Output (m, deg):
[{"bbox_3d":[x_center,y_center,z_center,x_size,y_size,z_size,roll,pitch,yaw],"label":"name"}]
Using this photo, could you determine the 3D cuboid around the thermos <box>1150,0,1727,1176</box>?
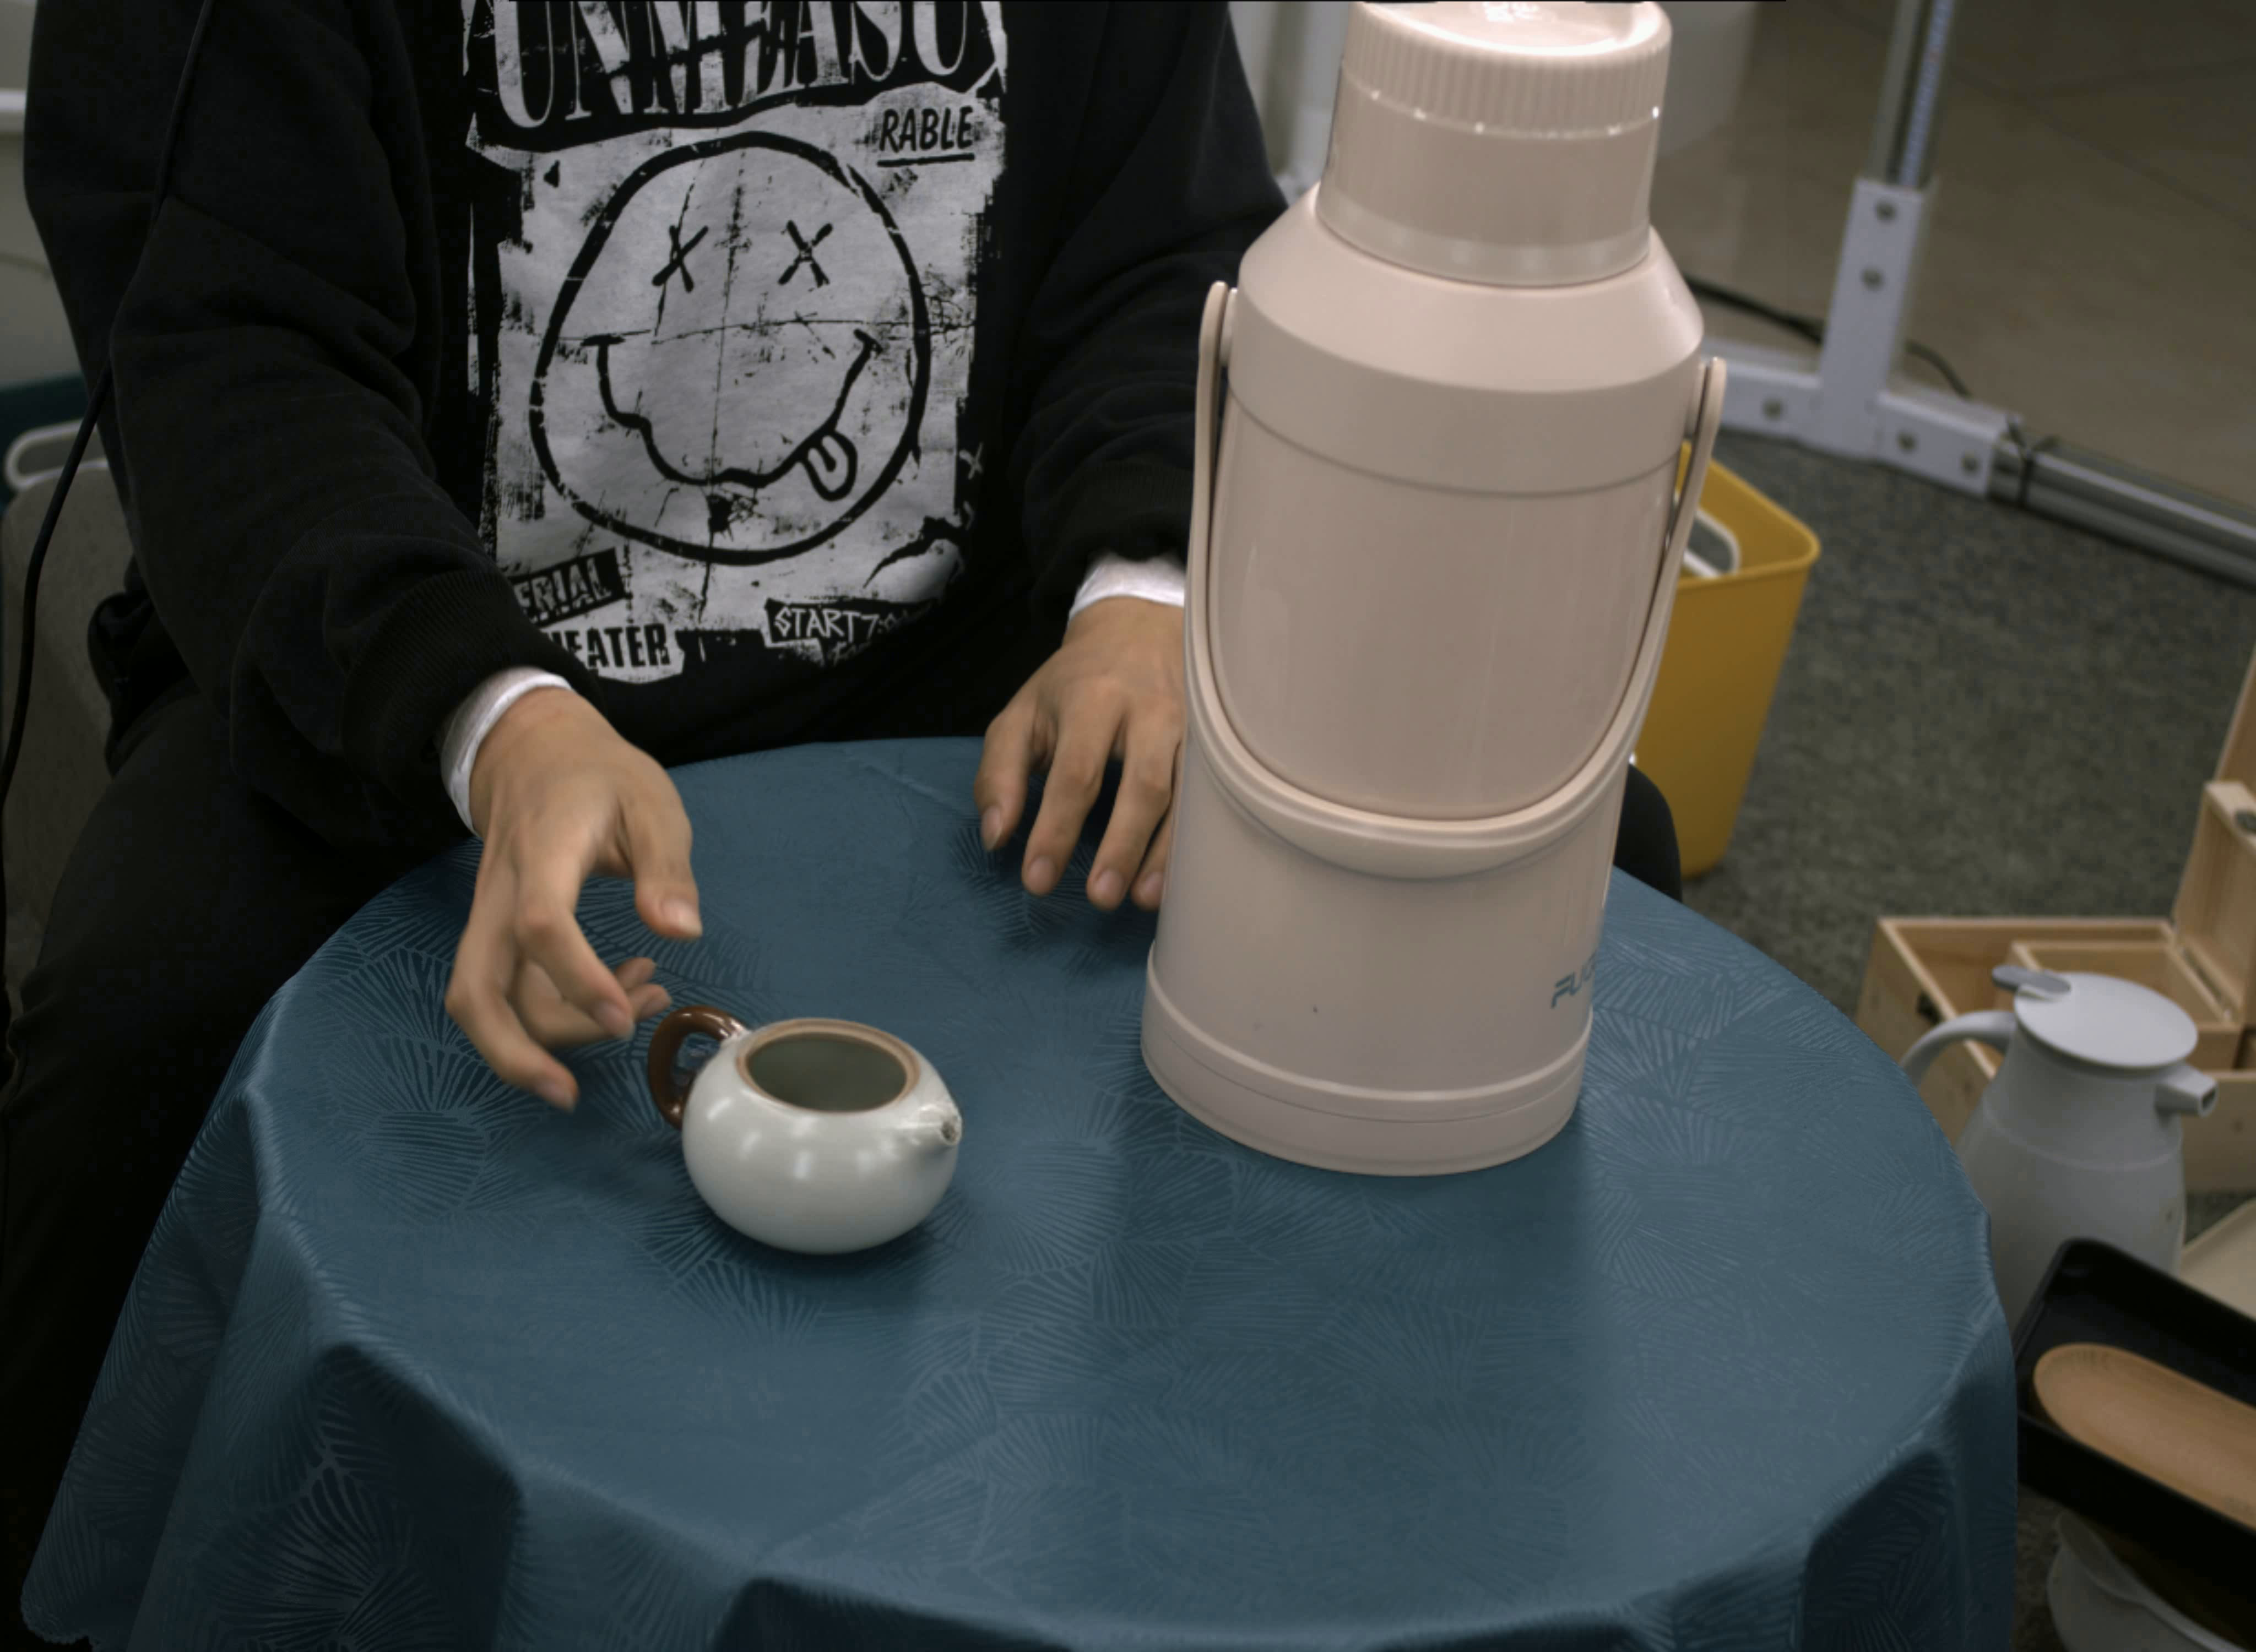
[{"bbox_3d":[0.108,-0.097,1.826,0.175,0.405,0.208,7,27,4],"label":"thermos"}]

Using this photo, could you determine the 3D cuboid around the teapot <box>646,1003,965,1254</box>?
[{"bbox_3d":[-0.109,0.099,1.764,0.129,0.059,0.091,23,34,27],"label":"teapot"}]
